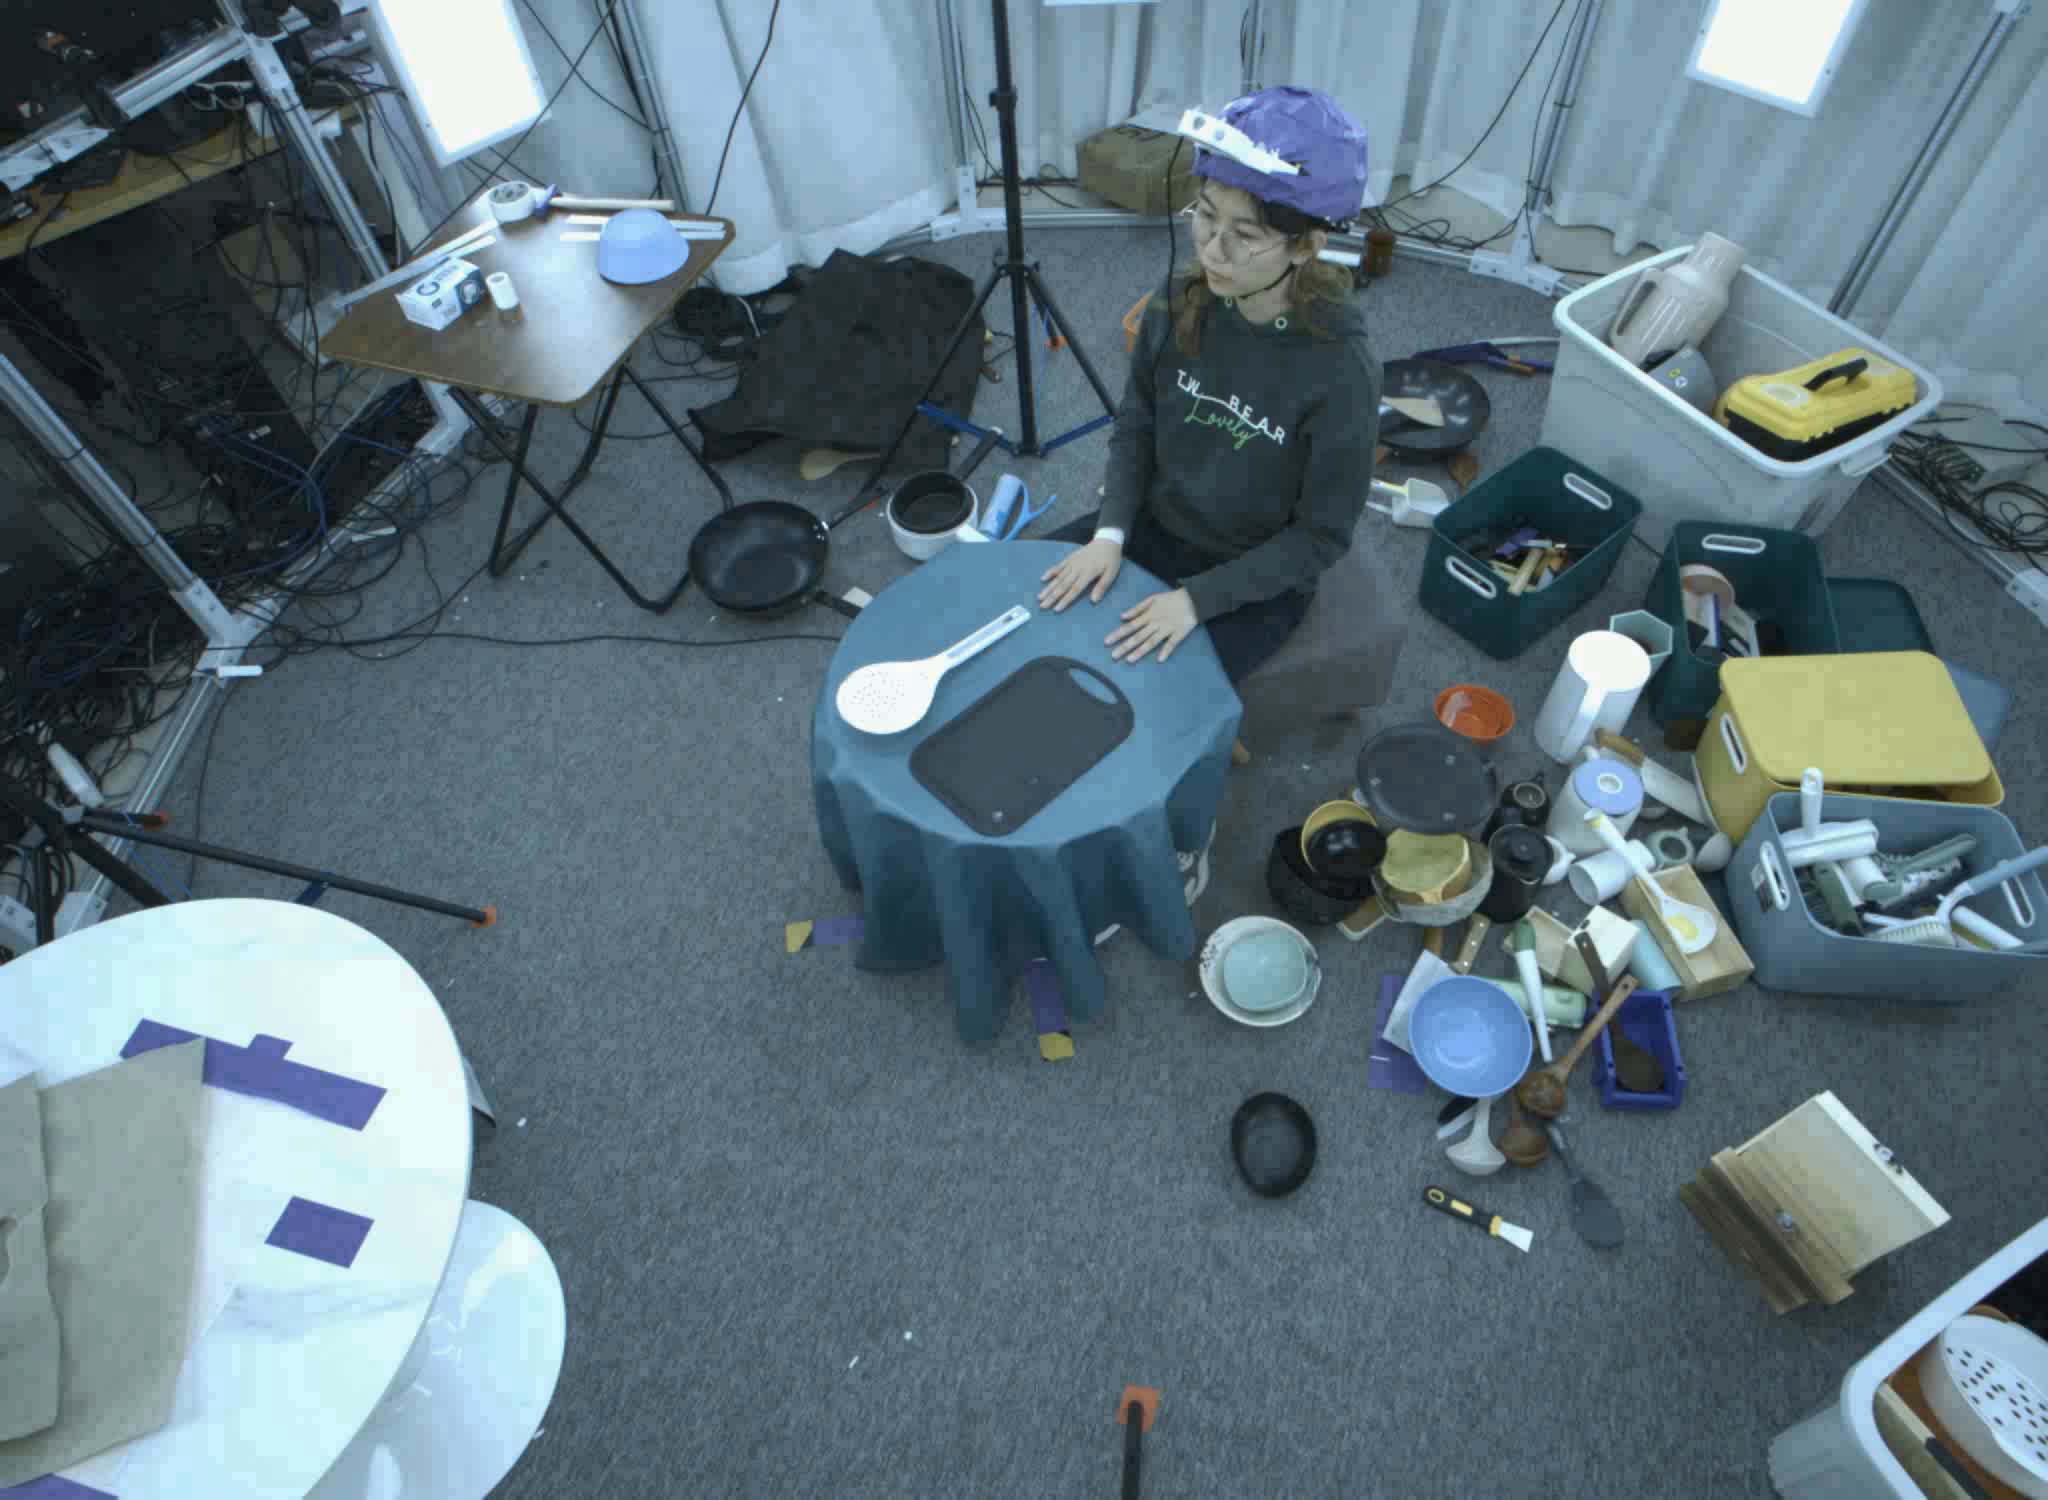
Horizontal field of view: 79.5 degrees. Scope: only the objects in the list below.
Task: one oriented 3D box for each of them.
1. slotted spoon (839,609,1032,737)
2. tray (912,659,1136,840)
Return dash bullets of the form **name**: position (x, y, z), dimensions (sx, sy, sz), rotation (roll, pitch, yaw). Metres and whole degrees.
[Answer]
- **slotted spoon**: position (-0.125, -0.125, 1.861), dimensions (0.352, 0.046, 0.134), rotation (-37, 64, -23)
- **tray**: position (0.006, -0.014, 1.803), dimensions (0.328, 0.010, 0.207), rotation (-38, 63, -23)
